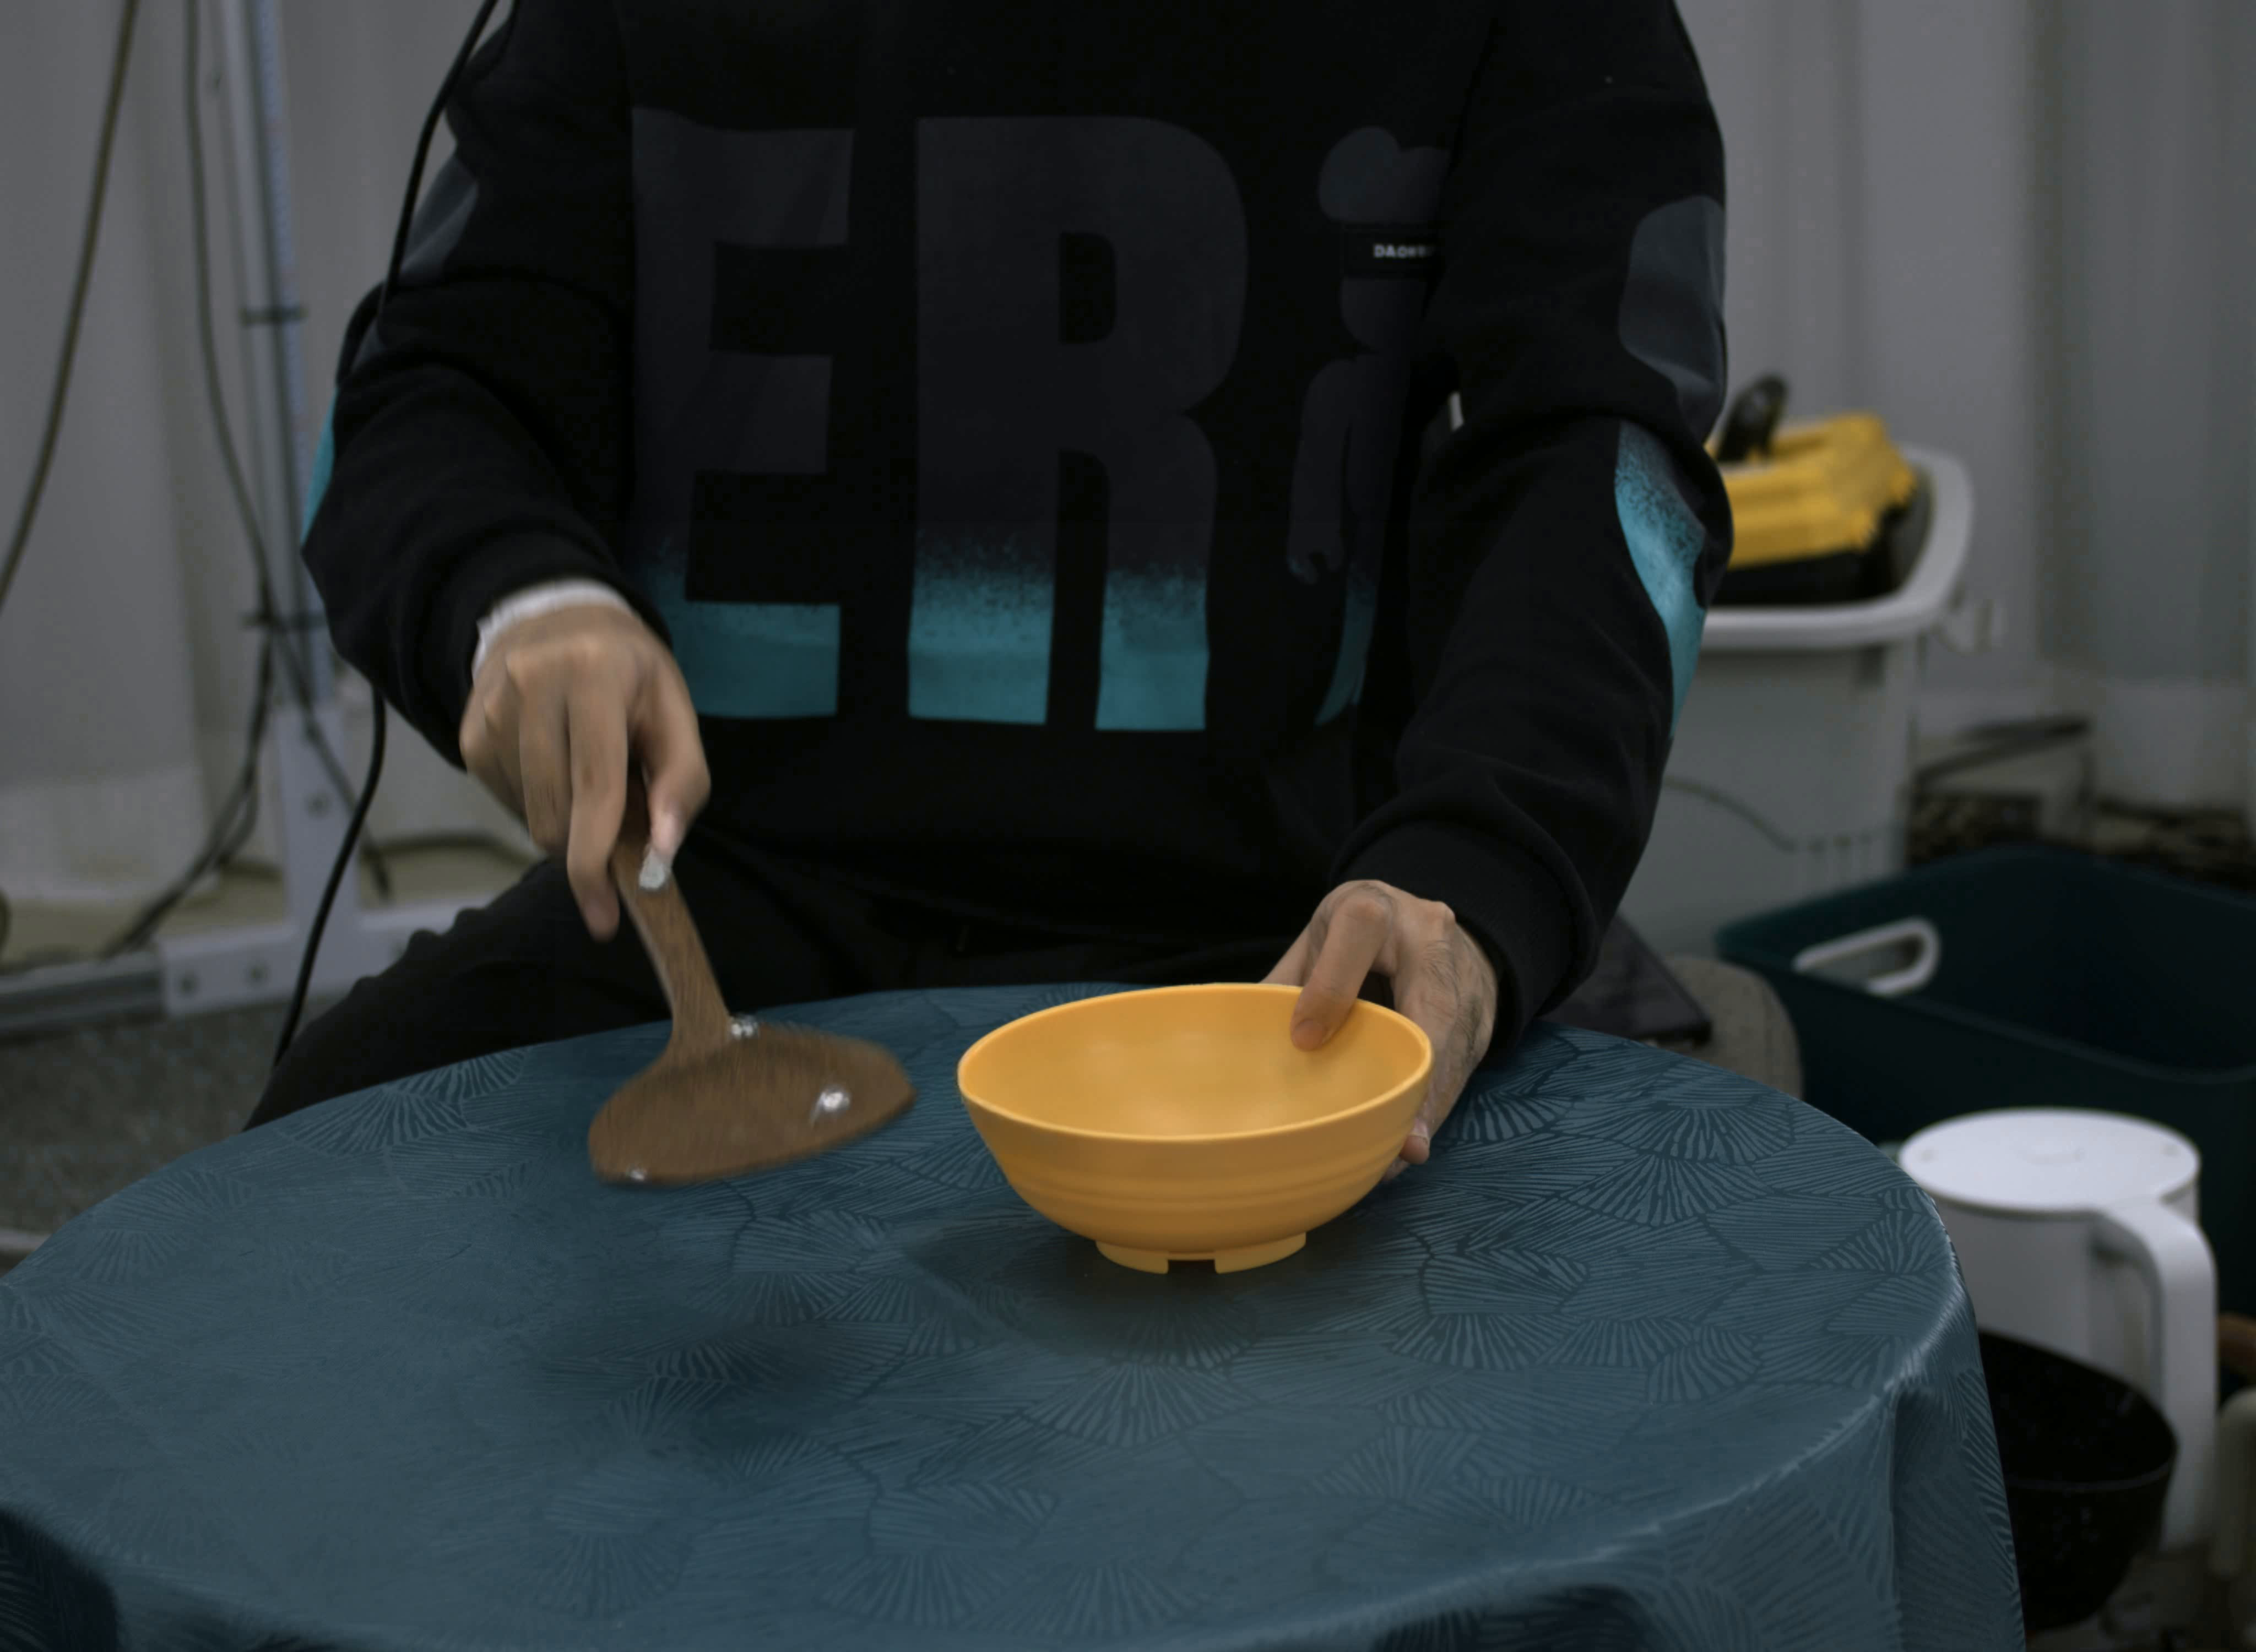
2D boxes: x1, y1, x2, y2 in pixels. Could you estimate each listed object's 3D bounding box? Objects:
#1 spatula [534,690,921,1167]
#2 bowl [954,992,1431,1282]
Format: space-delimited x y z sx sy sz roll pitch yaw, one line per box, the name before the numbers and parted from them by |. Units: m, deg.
spatula | -0.145 0.023 1.705 0.096 0.015 0.390 -16 24 -9
bowl | 0.019 0.100 1.659 0.145 0.060 0.146 0 15 0
